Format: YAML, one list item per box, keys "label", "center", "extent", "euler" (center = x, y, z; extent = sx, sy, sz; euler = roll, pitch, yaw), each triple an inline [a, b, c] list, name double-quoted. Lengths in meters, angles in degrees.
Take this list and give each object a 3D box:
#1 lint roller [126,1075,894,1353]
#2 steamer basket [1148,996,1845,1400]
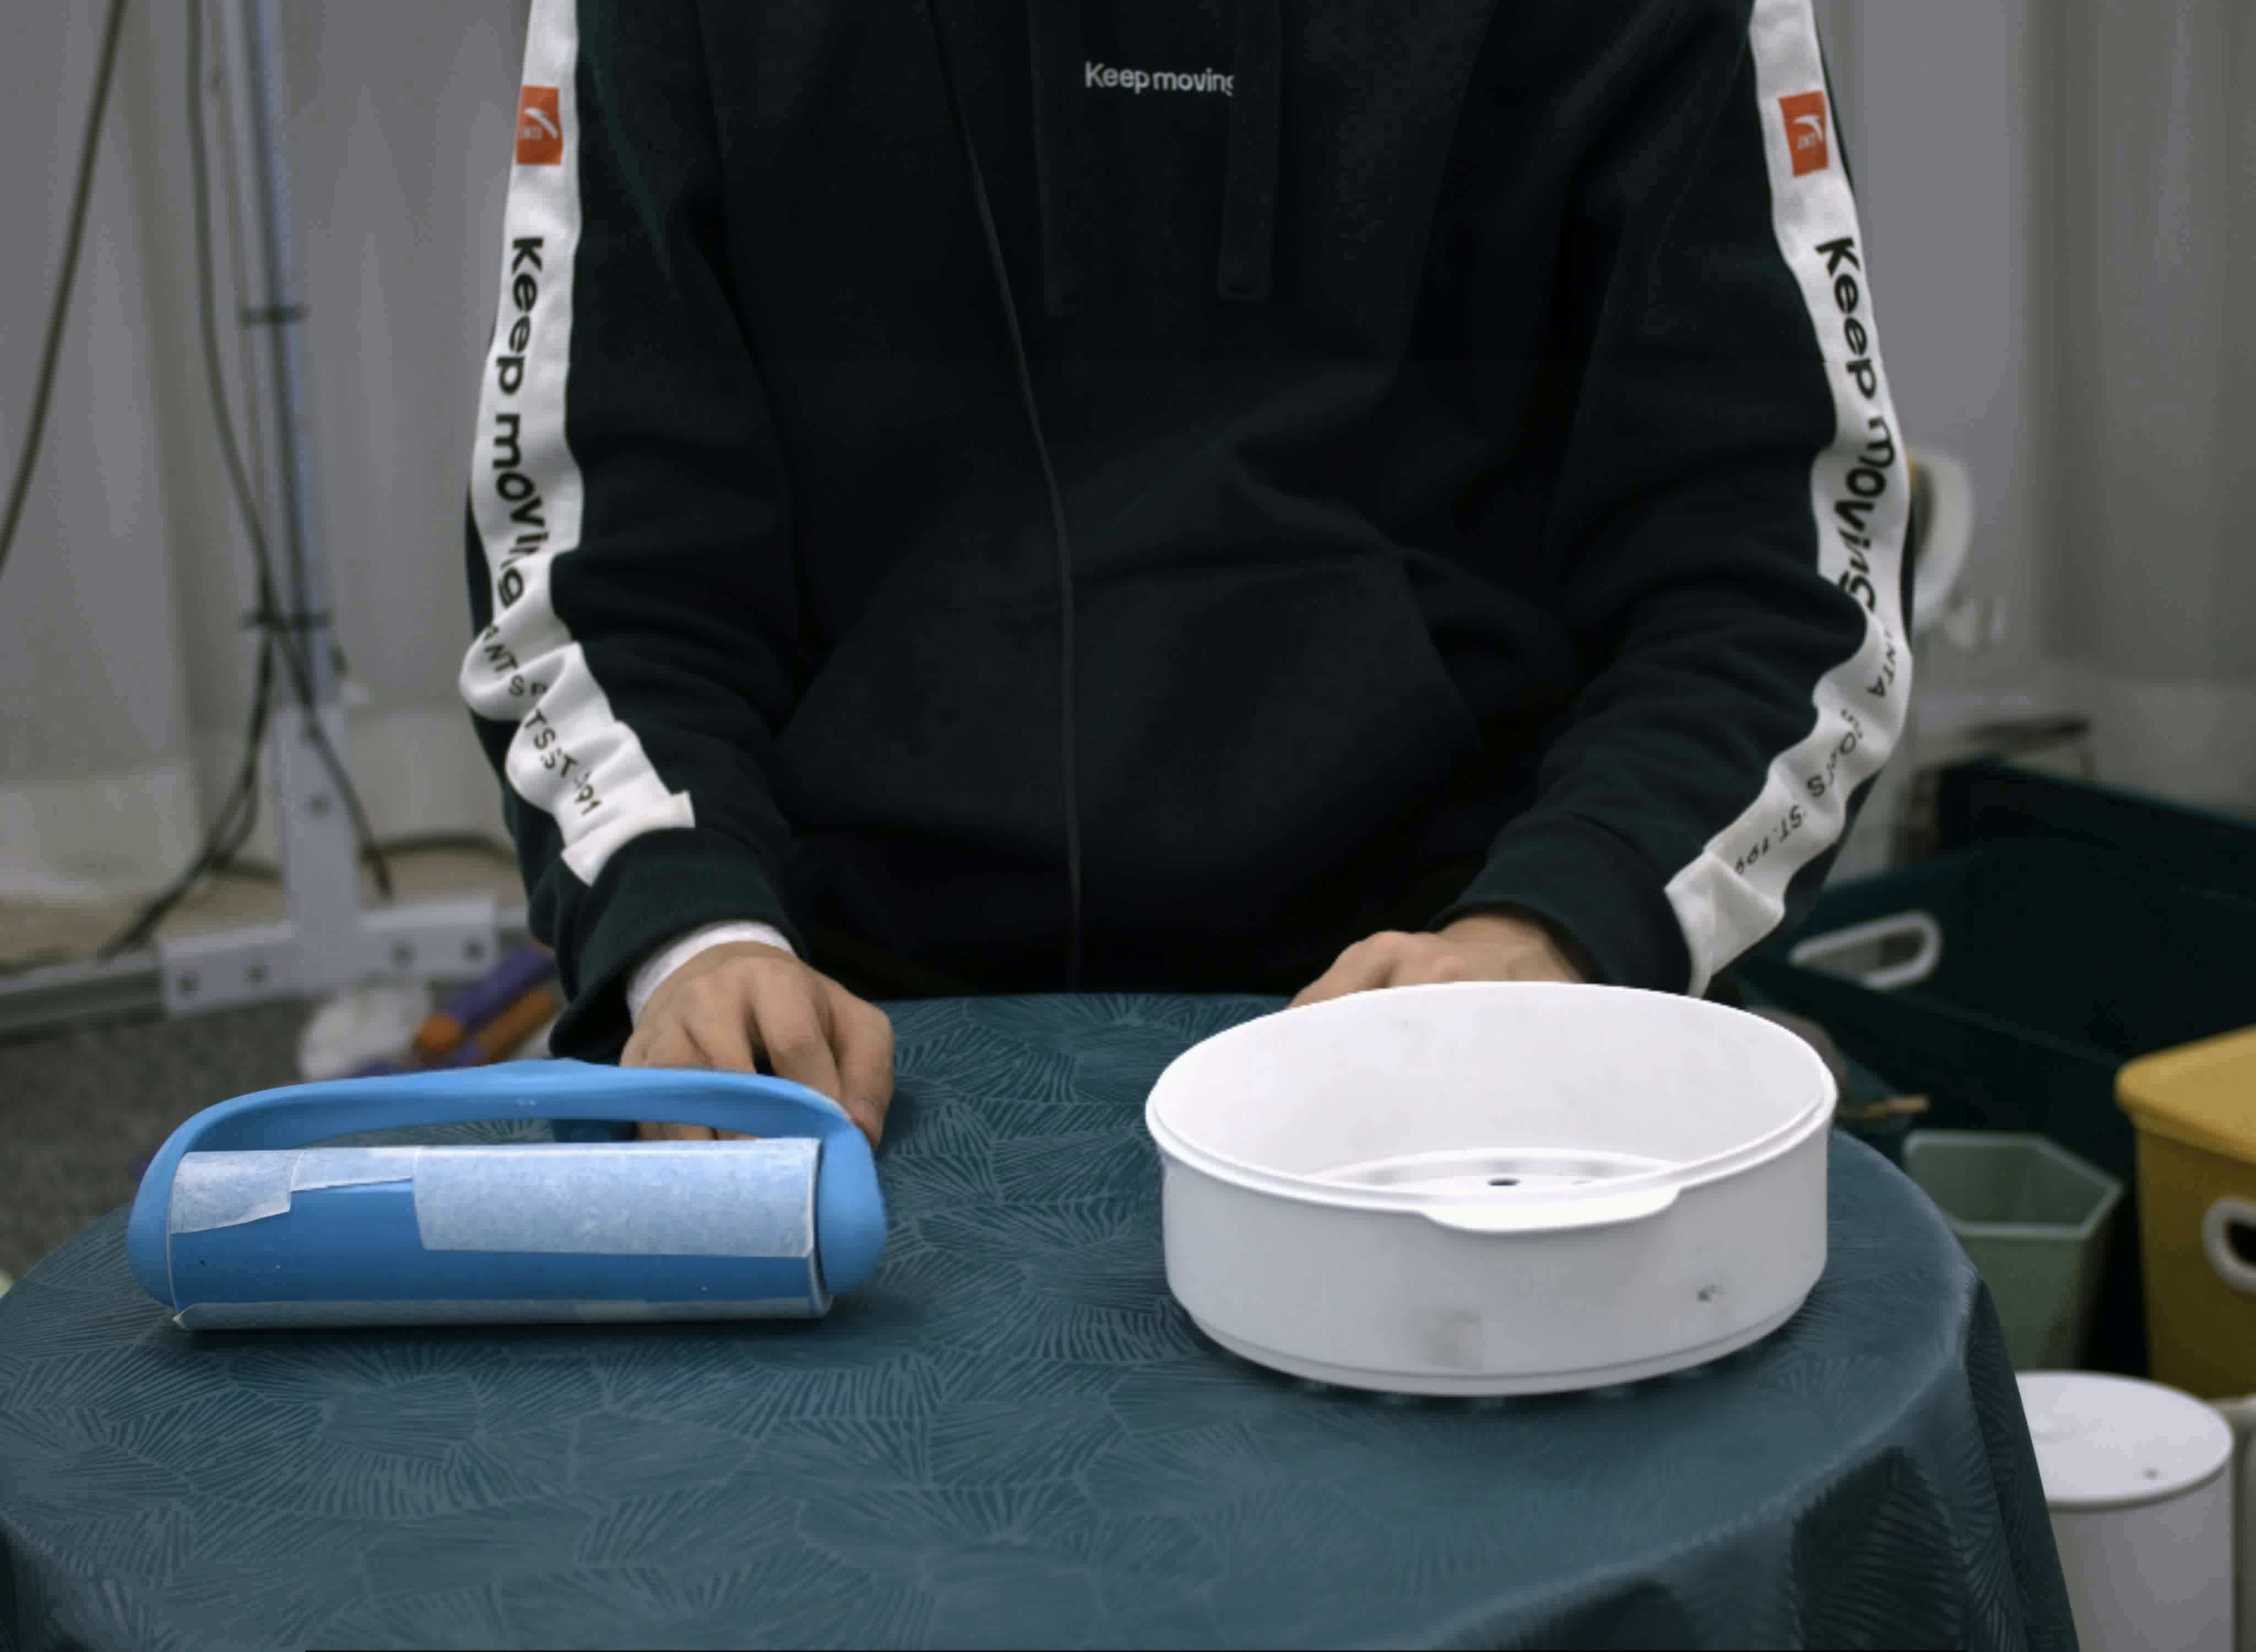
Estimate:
- label: "lint roller"
  center: [-0.183, 0.107, 1.676]
  extent: [0.228, 0.067, 0.181]
  euler: [-5, 16, 2]
- label: "steamer basket"
  center: [0.107, 0.107, 1.589]
  extent: [0.201, 0.069, 0.232]
  euler: [-4, 14, -5]
